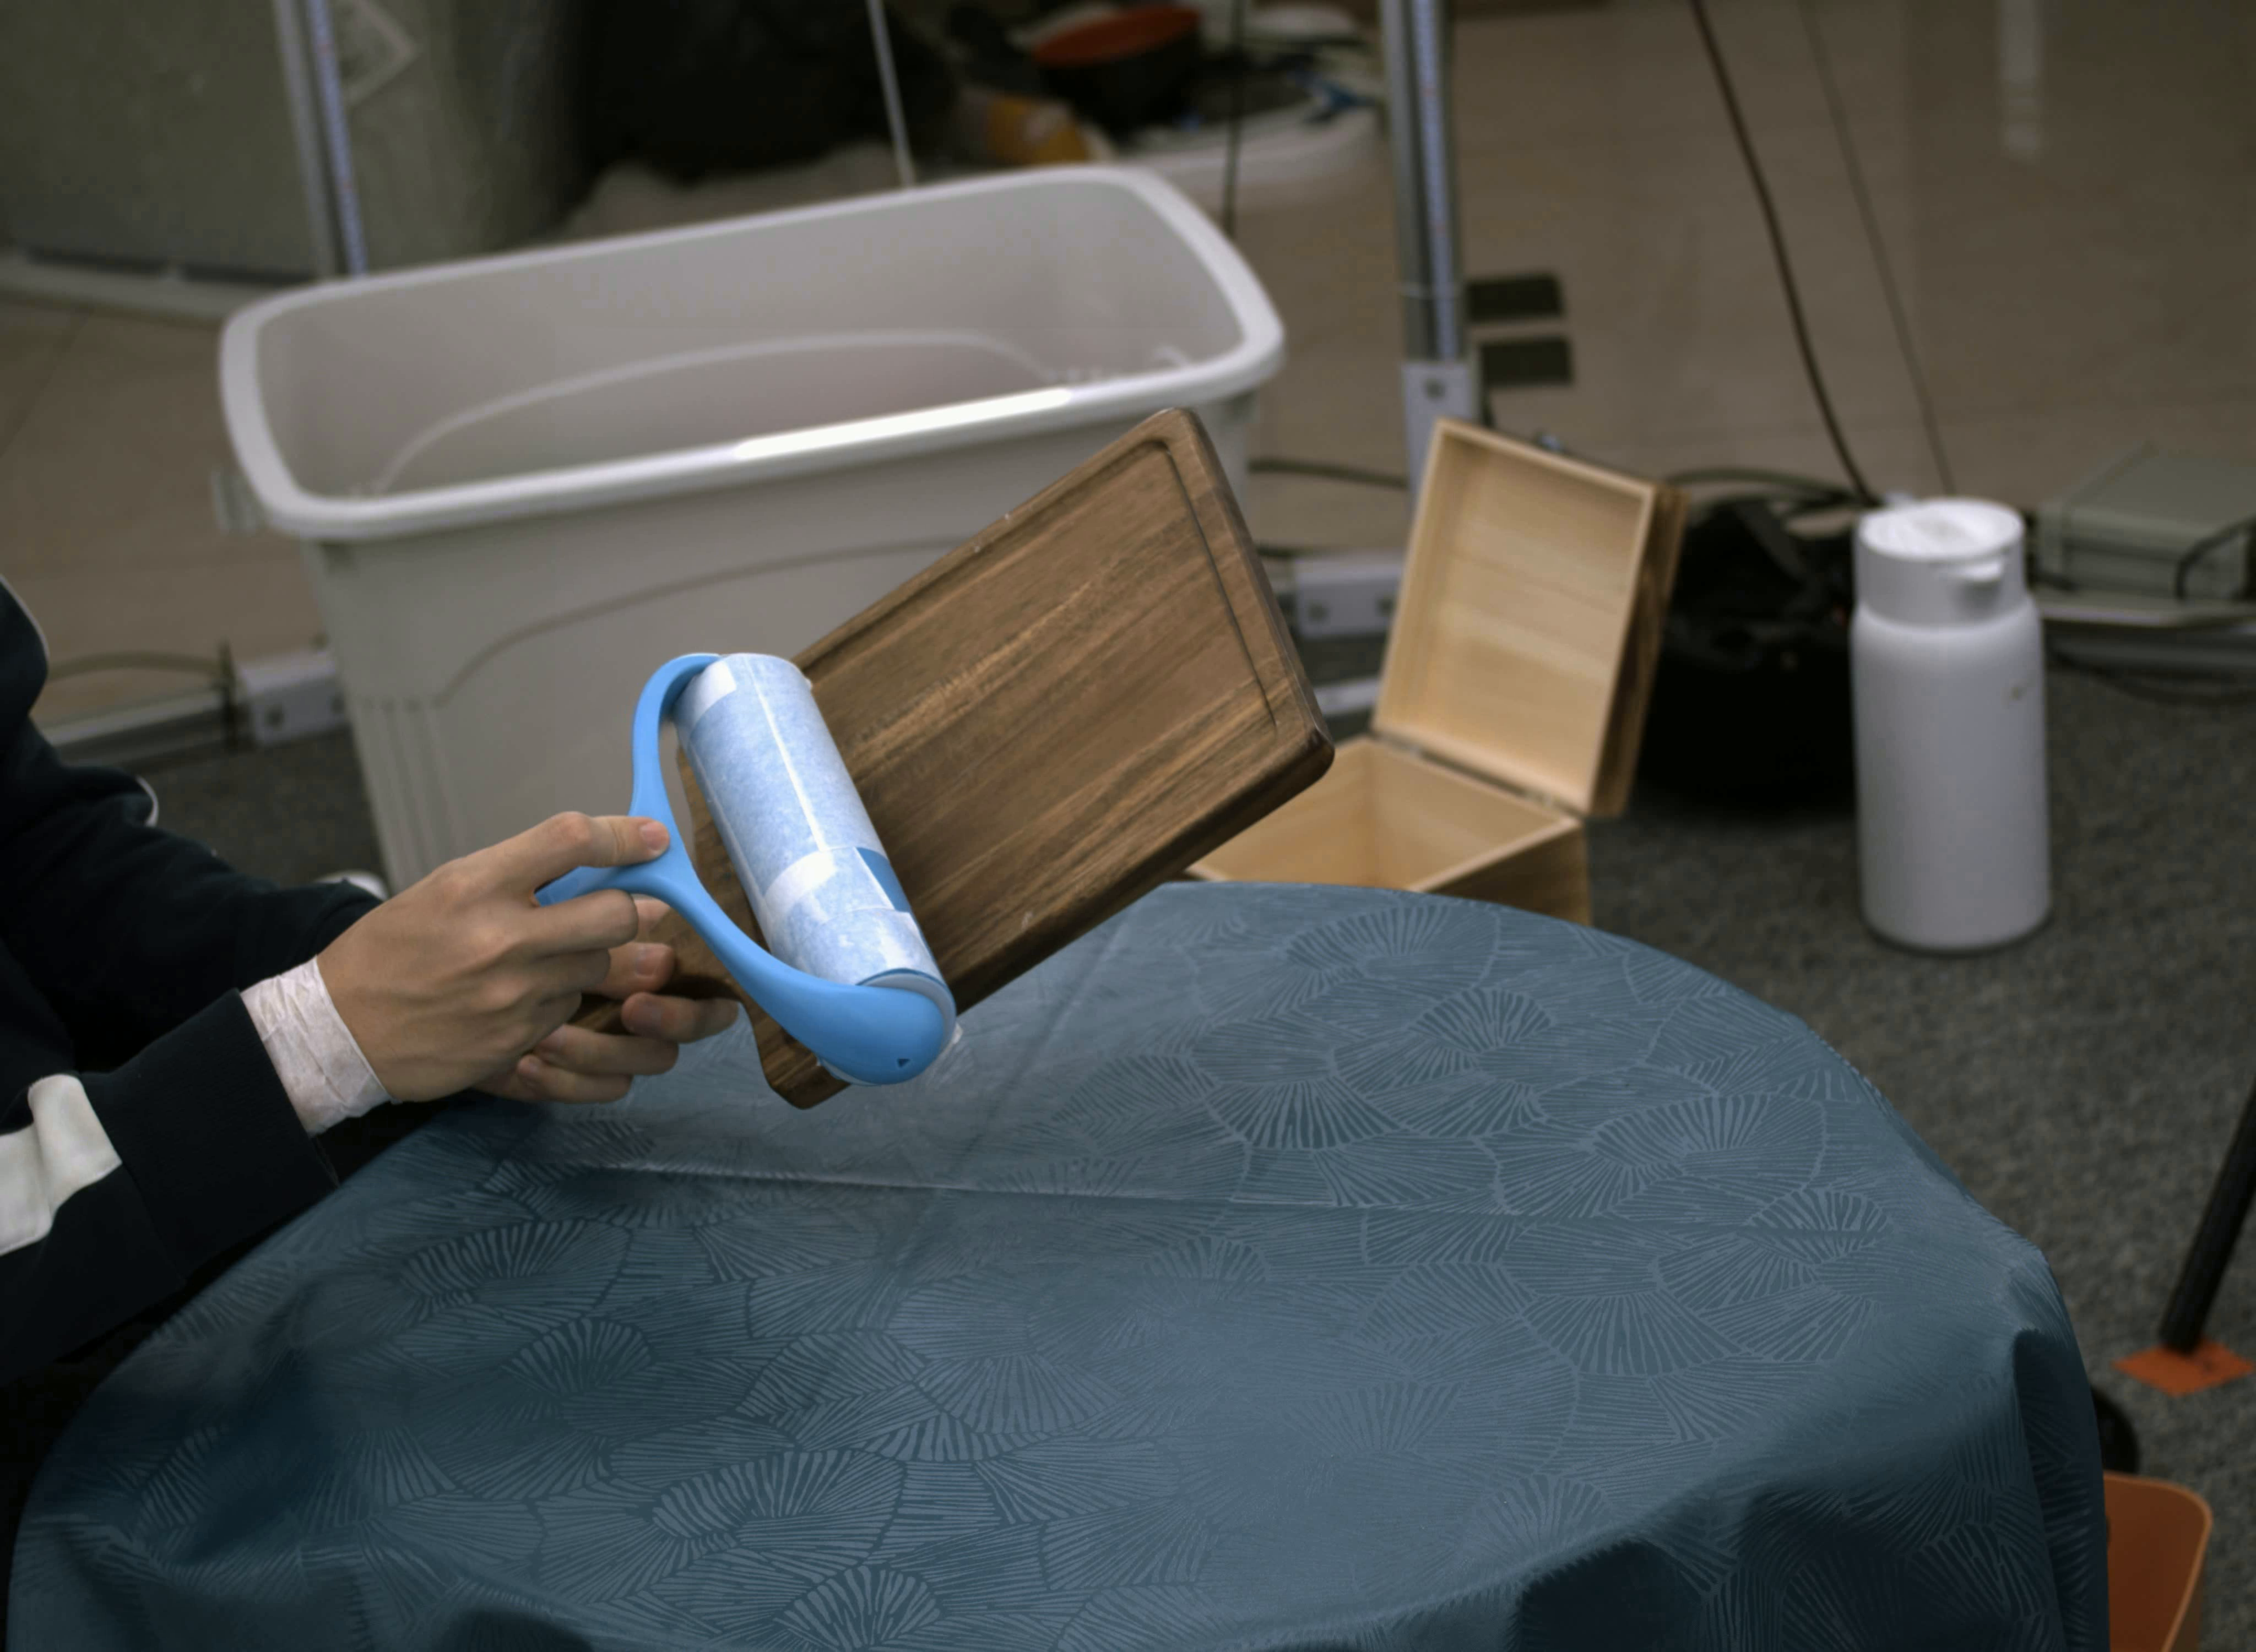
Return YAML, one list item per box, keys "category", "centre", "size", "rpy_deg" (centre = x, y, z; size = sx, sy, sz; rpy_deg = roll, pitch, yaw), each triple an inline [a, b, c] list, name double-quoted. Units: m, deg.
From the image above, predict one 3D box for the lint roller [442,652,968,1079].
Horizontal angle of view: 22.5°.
- category: "lint roller"
  centre: [-0.169, 0.032, 2.072]
  size: [0.179, 0.069, 0.225]
  rpy_deg: [-21, 46, -11]

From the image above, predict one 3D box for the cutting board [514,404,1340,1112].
- category: "cutting board"
  centre: [-0.091, -0.002, 2.155]
  size: [0.353, 0.023, 0.197]
  rpy_deg: [-34, 46, 15]
